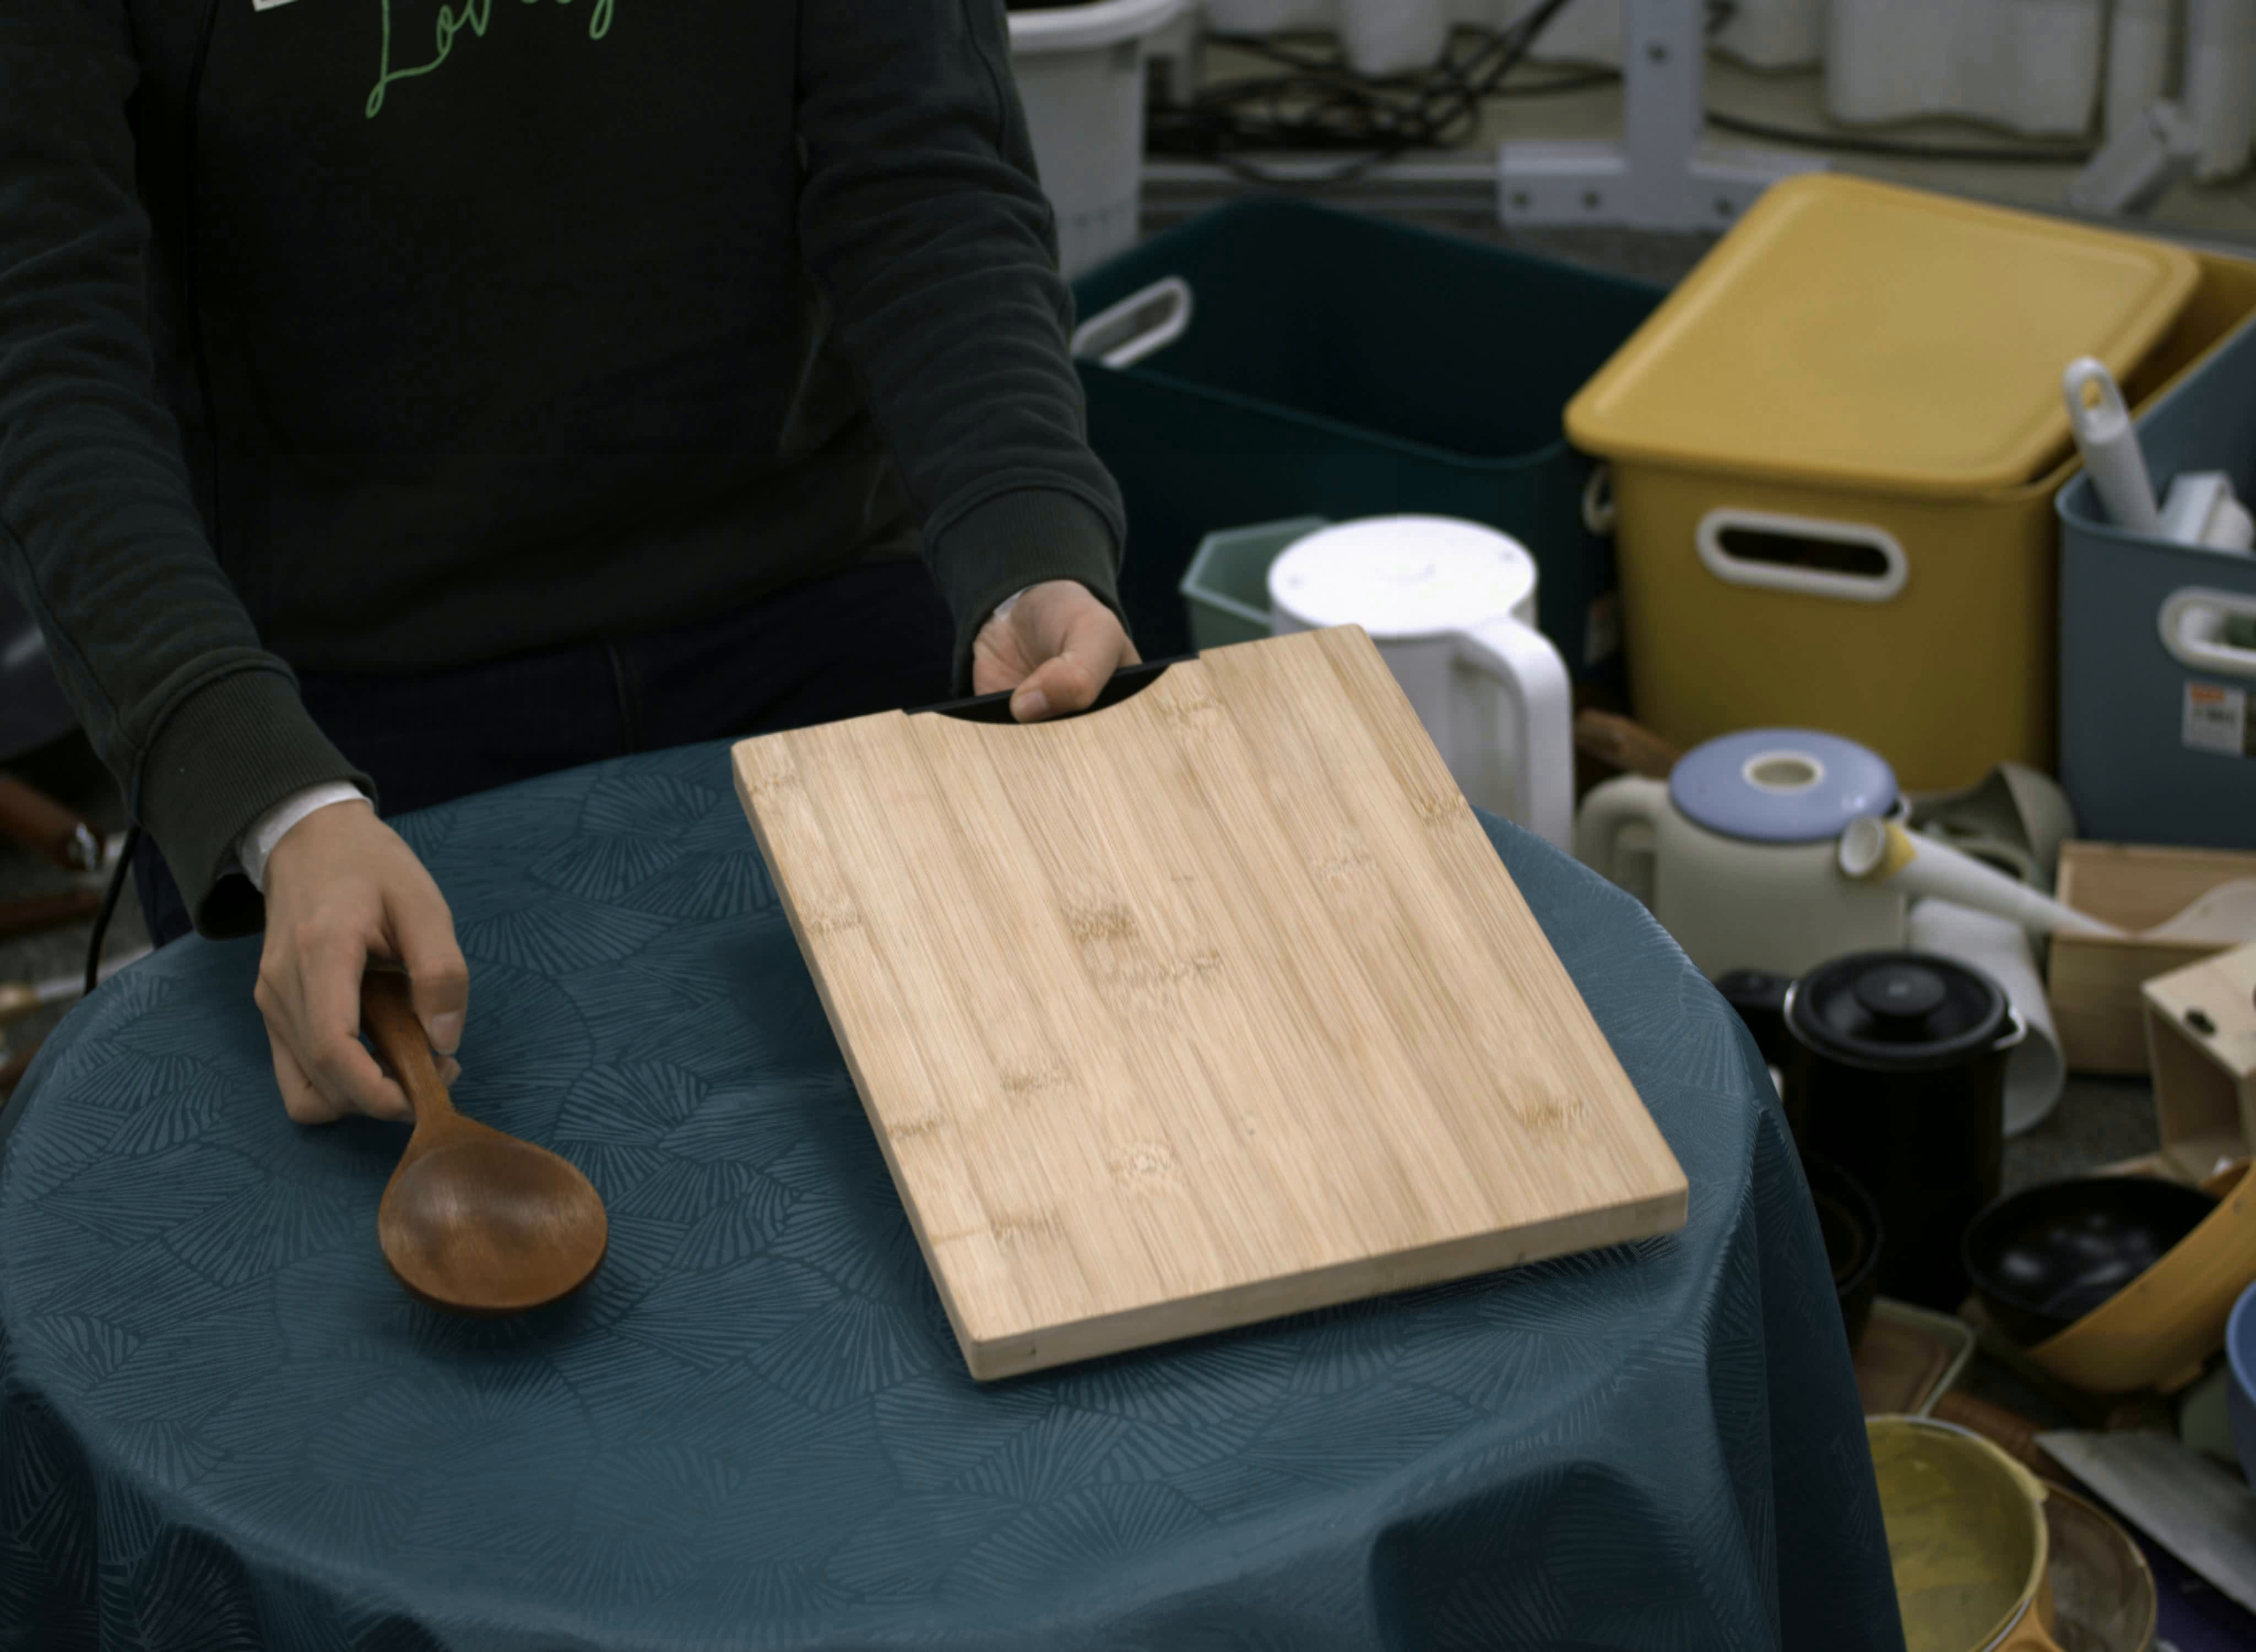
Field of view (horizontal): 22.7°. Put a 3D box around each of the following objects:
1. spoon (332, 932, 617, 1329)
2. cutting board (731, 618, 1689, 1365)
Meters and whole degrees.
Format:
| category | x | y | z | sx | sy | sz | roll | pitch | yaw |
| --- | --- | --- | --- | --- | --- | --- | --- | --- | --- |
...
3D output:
| category | x | y | z | sx | sy | sz | roll | pitch | yaw |
| --- | --- | --- | --- | --- | --- | --- | --- | --- | --- |
| spoon | -0.226 | 0.101 | 1.862 | 0.075 | 0.017 | 0.218 | -14 | 38 | -16 |
| cutting board | 0.018 | 0.049 | 1.913 | 0.251 | 0.023 | 0.353 | -10 | 37 | -14 |
